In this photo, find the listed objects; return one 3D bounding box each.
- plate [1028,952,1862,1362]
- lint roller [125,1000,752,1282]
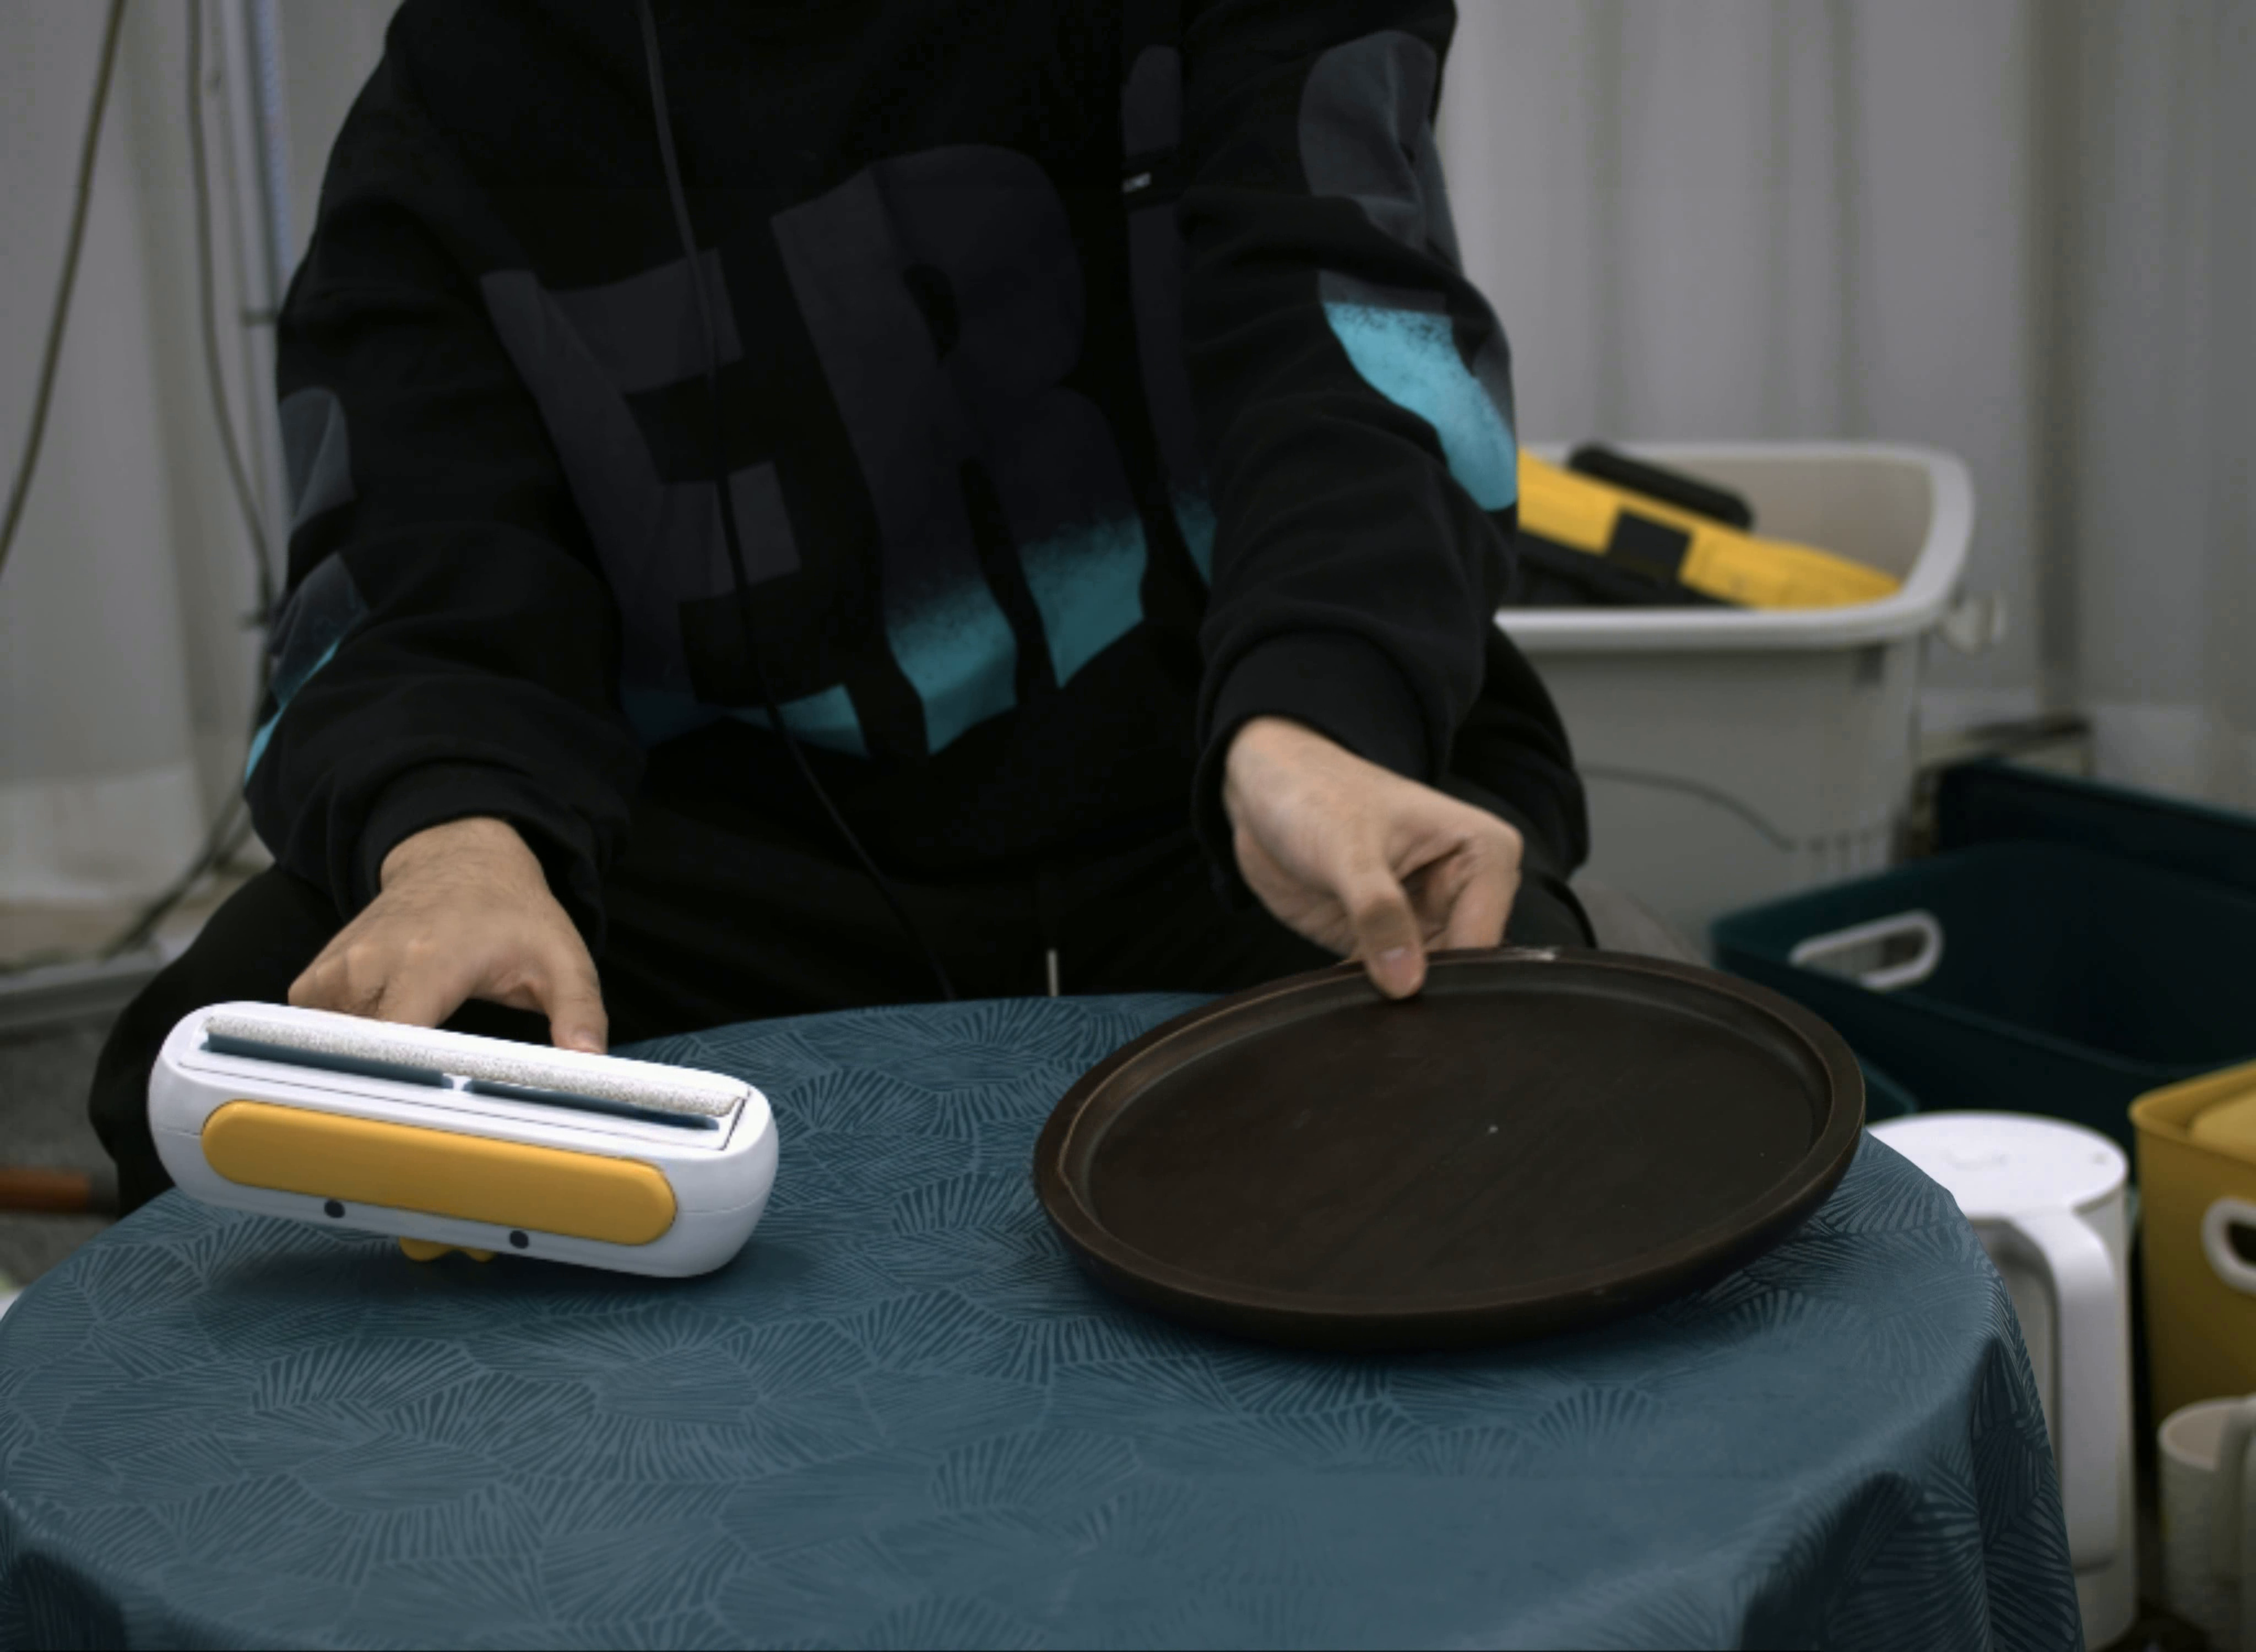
[{"bbox_3d":[0.096,0.098,1.657,0.254,0.029,0.257,-7,20,2],"label":"plate"},{"bbox_3d":[-0.200,0.088,1.726,0.192,0.074,0.193,5,14,10],"label":"lint roller"}]
